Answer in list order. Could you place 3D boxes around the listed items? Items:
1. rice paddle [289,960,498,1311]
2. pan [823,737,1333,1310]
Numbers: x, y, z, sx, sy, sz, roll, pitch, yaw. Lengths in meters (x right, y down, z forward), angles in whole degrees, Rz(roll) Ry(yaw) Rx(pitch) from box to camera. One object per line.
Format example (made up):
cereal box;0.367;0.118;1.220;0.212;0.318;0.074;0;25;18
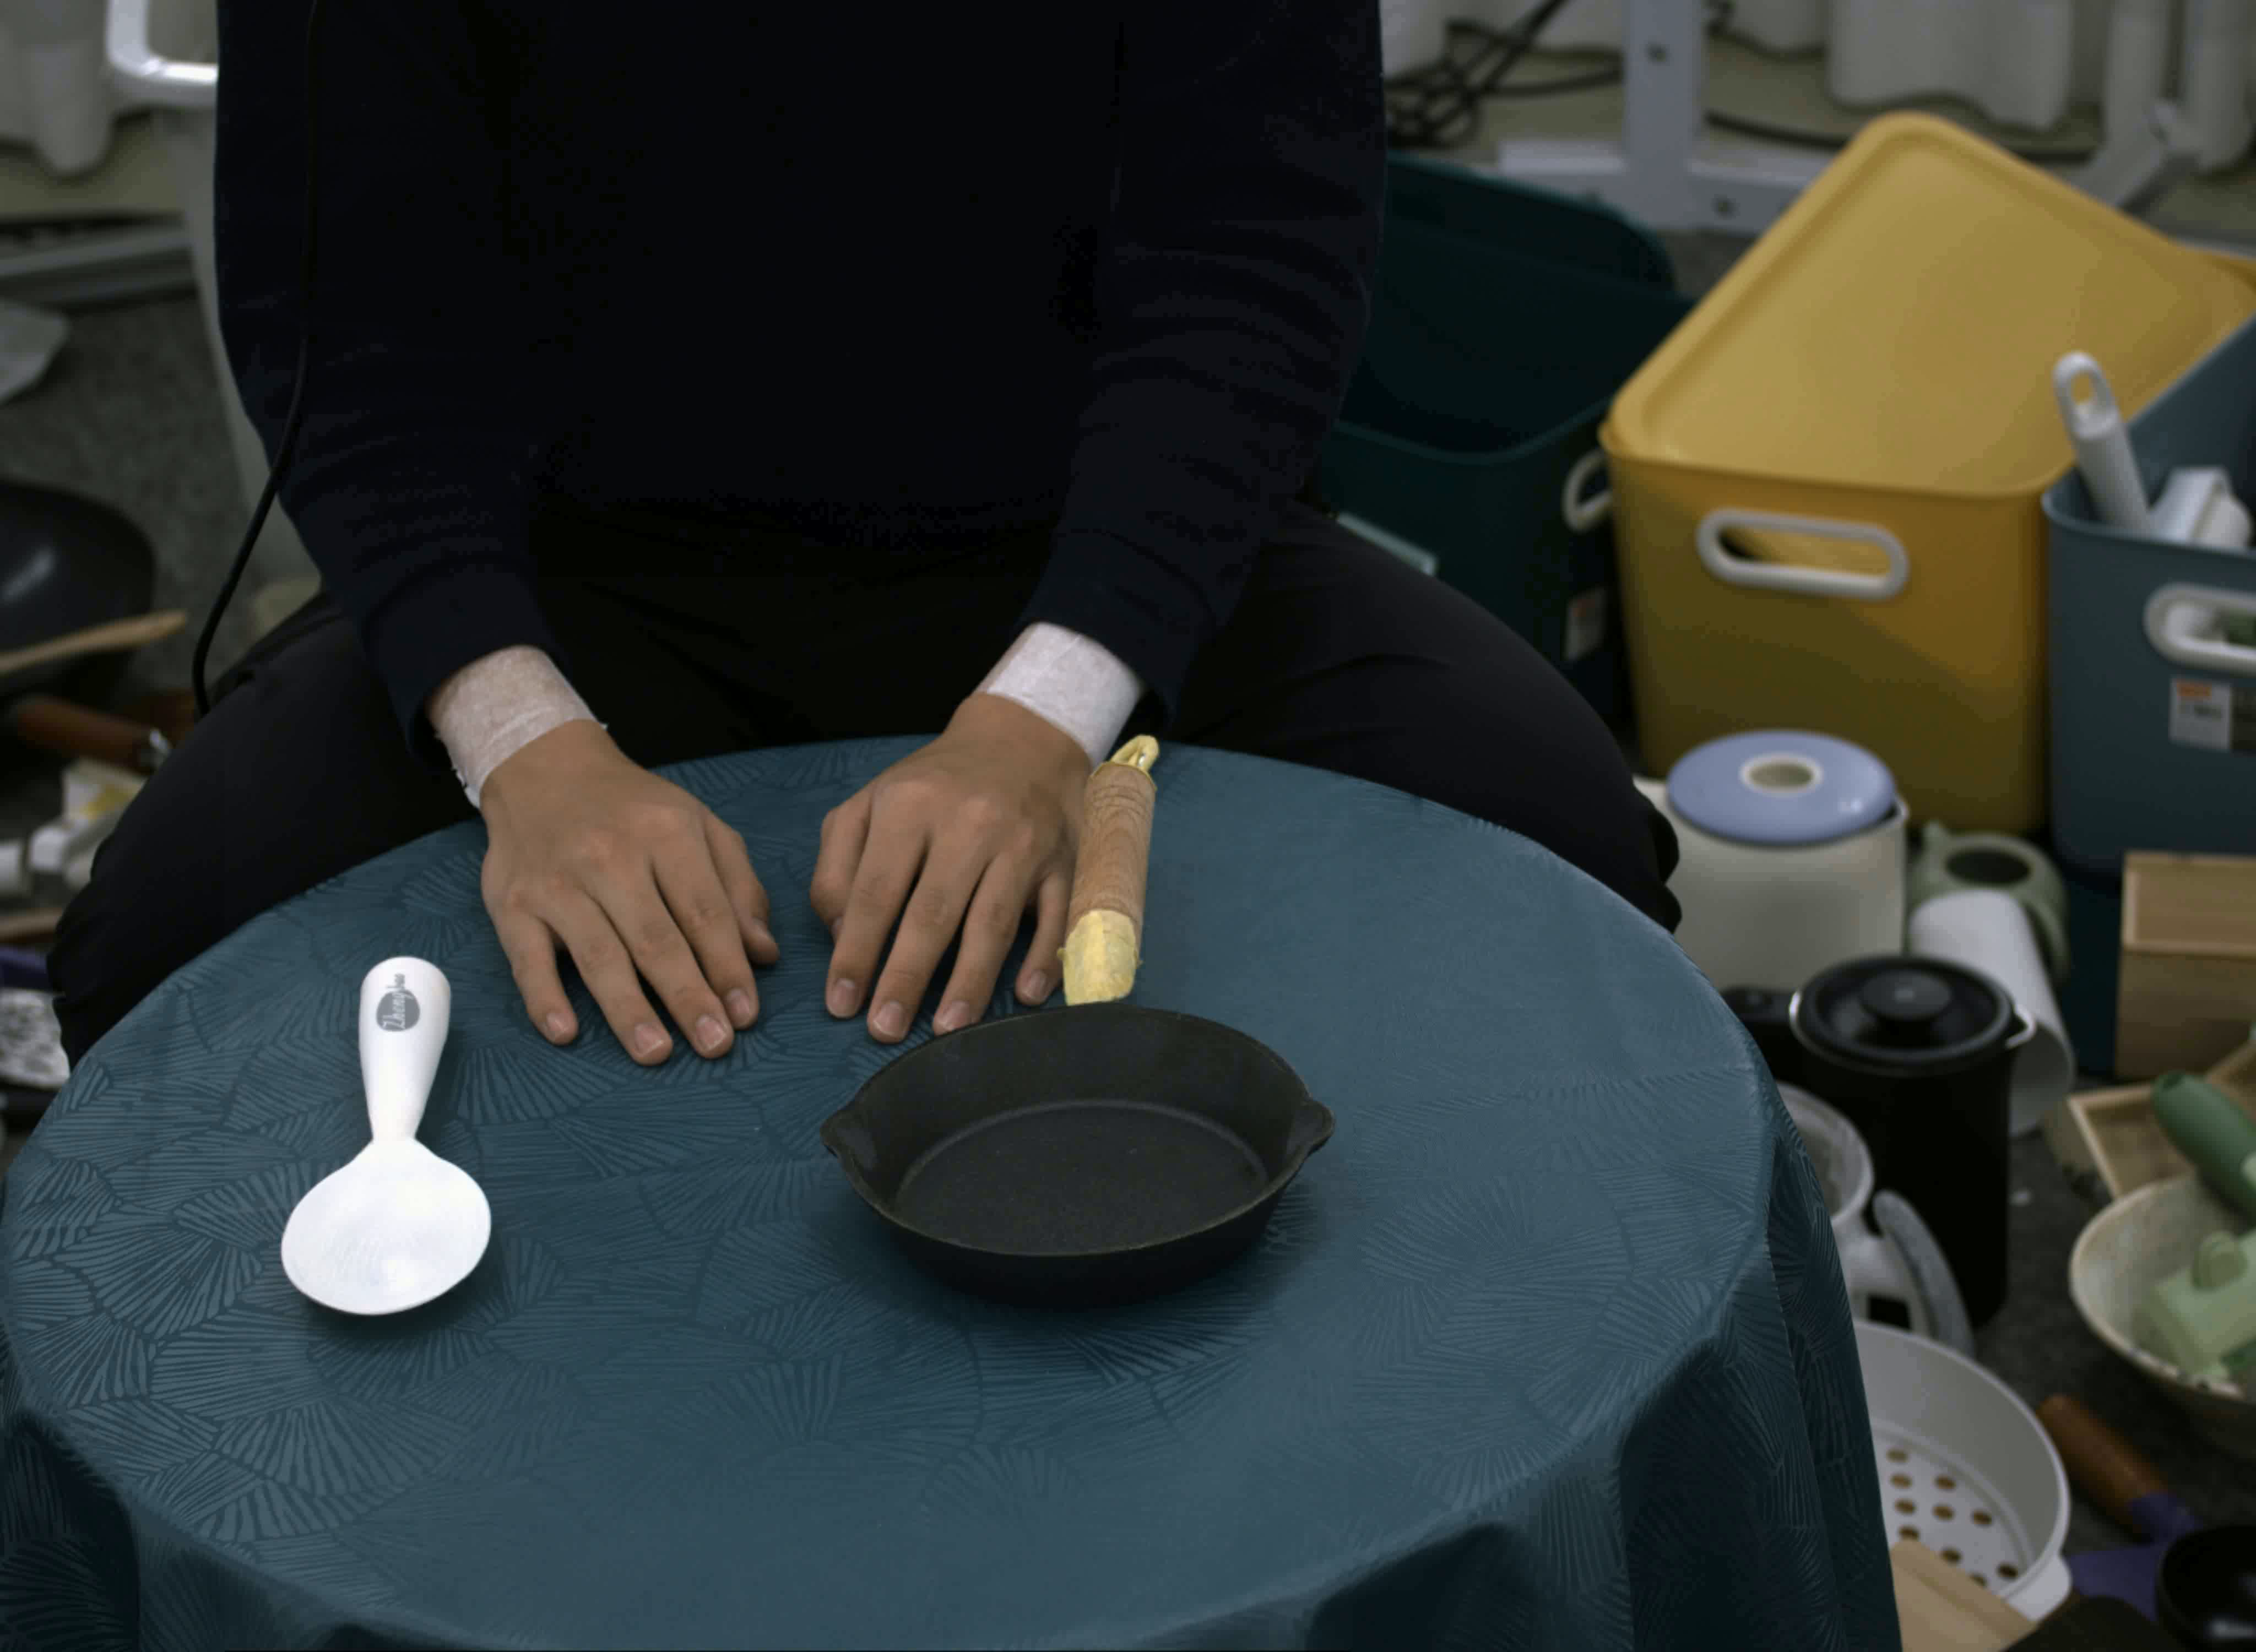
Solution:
rice paddle;-0.245;0.106;1.885;0.068;0.029;0.208;-7;27;-3
pan;-0.009;0.065;1.919;0.168;0.049;0.329;0;29;6
